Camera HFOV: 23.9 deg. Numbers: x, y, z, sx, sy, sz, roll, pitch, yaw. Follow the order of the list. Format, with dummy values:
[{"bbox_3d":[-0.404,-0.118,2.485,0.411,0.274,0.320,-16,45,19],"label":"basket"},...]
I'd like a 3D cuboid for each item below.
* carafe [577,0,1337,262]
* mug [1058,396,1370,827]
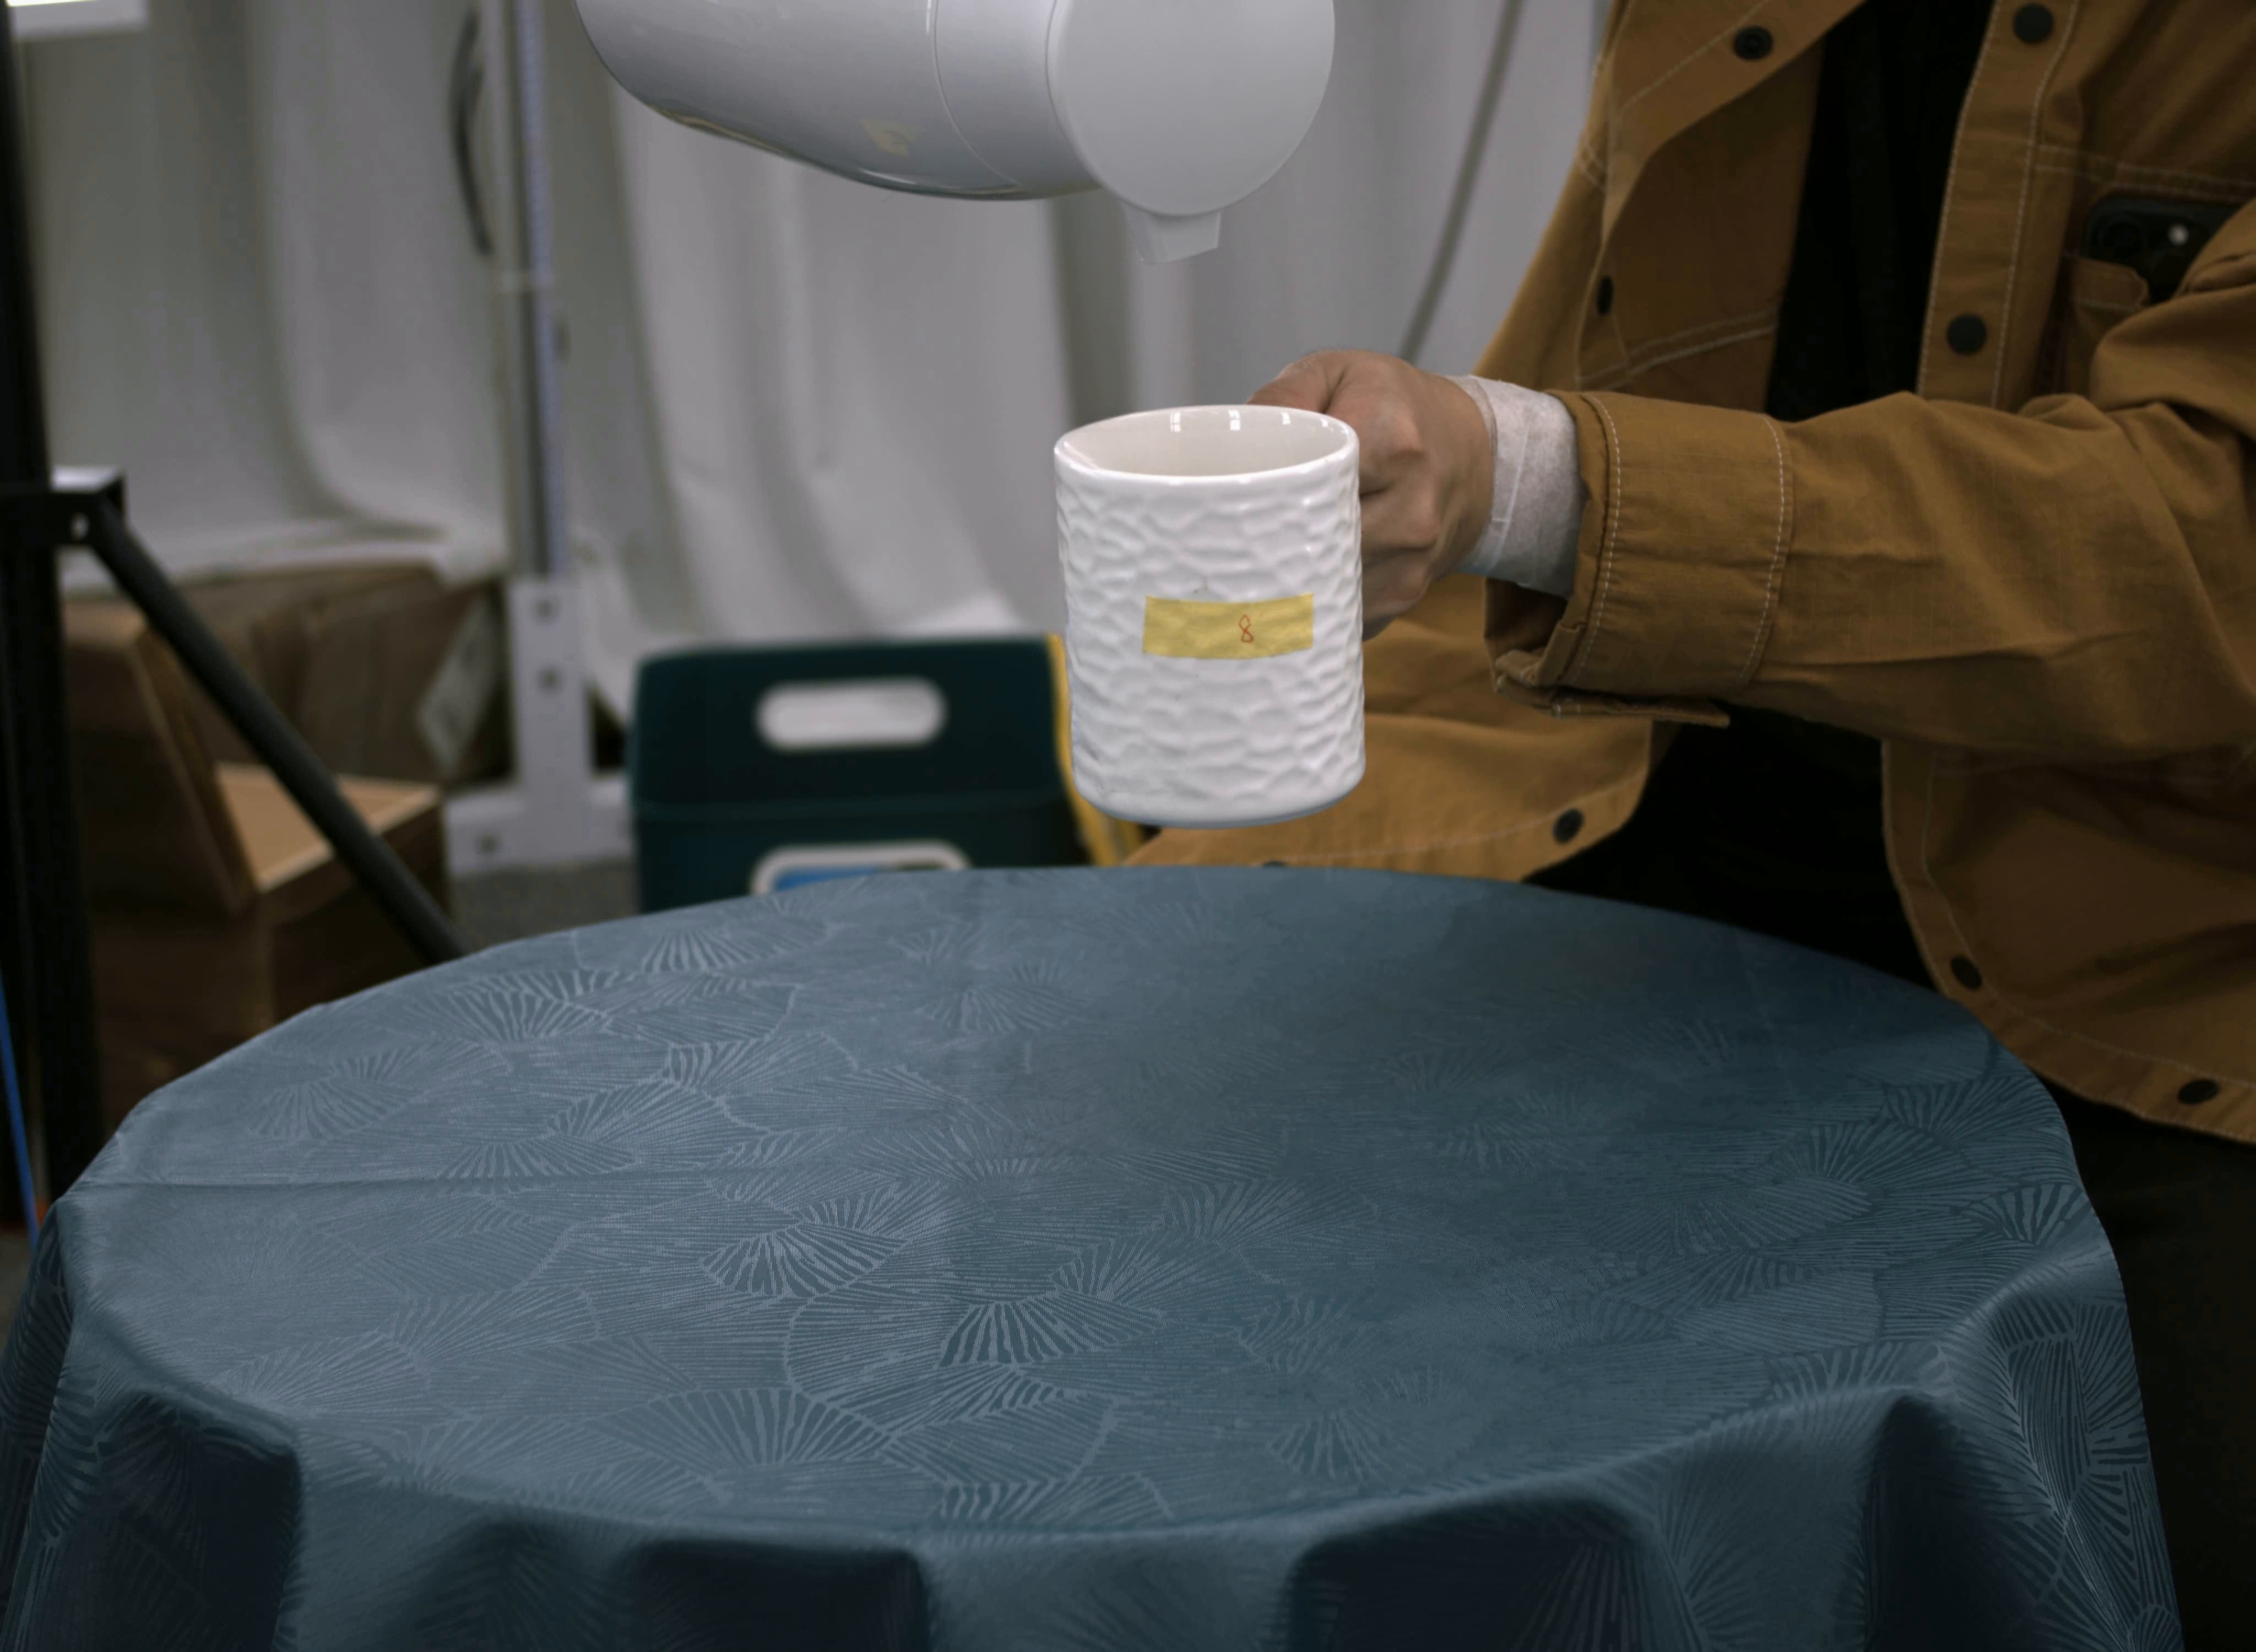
[{"bbox_3d":[-0.048,-0.258,1.512,0.130,0.167,0.254,-20,26,-27],"label":"carafe"},{"bbox_3d":[0.029,-0.064,1.493,0.085,0.102,0.117,2,18,15],"label":"mug"}]
